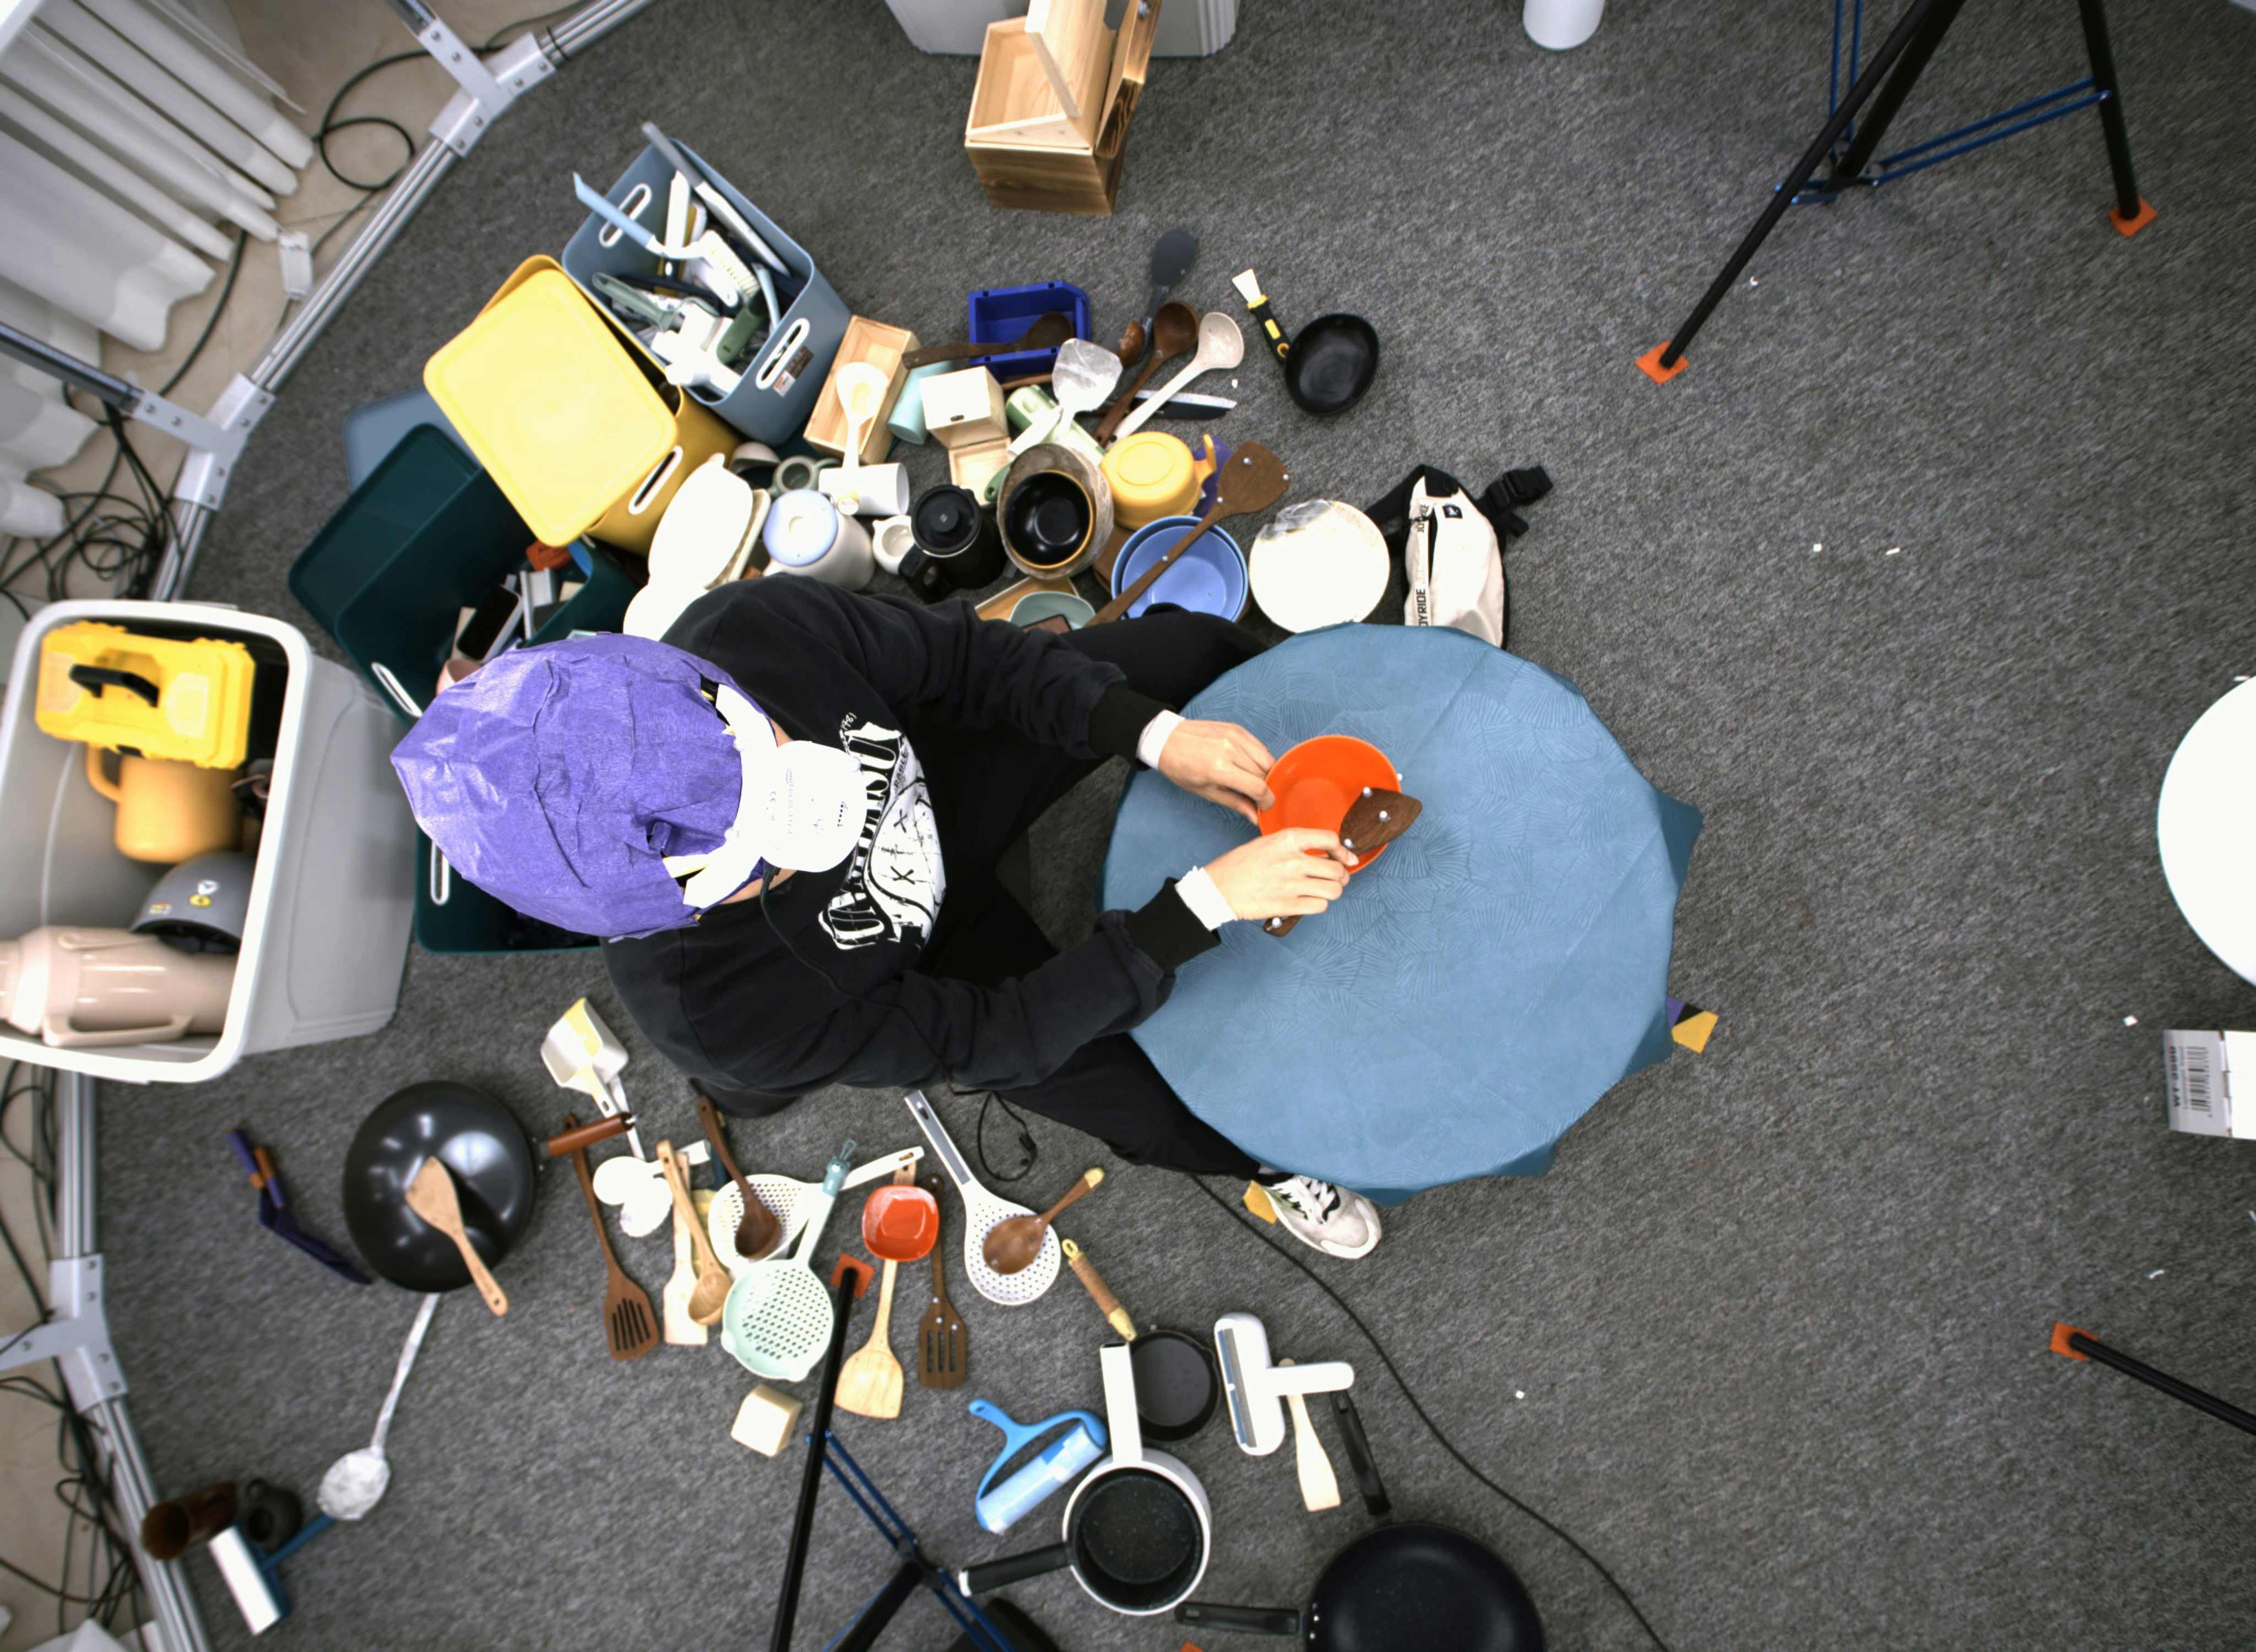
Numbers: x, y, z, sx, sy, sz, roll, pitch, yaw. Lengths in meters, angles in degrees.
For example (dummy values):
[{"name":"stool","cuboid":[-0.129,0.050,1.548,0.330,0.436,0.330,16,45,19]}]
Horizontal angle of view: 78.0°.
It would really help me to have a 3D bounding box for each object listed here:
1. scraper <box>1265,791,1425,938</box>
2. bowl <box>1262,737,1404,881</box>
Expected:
[{"name":"scraper","cuboid":[0.205,0.037,1.348,0.208,0.011,0.075,-43,39,-23]},{"name":"bowl","cuboid":[0.203,-0.021,1.421,0.148,0.104,0.149,-1,97,-5]}]
